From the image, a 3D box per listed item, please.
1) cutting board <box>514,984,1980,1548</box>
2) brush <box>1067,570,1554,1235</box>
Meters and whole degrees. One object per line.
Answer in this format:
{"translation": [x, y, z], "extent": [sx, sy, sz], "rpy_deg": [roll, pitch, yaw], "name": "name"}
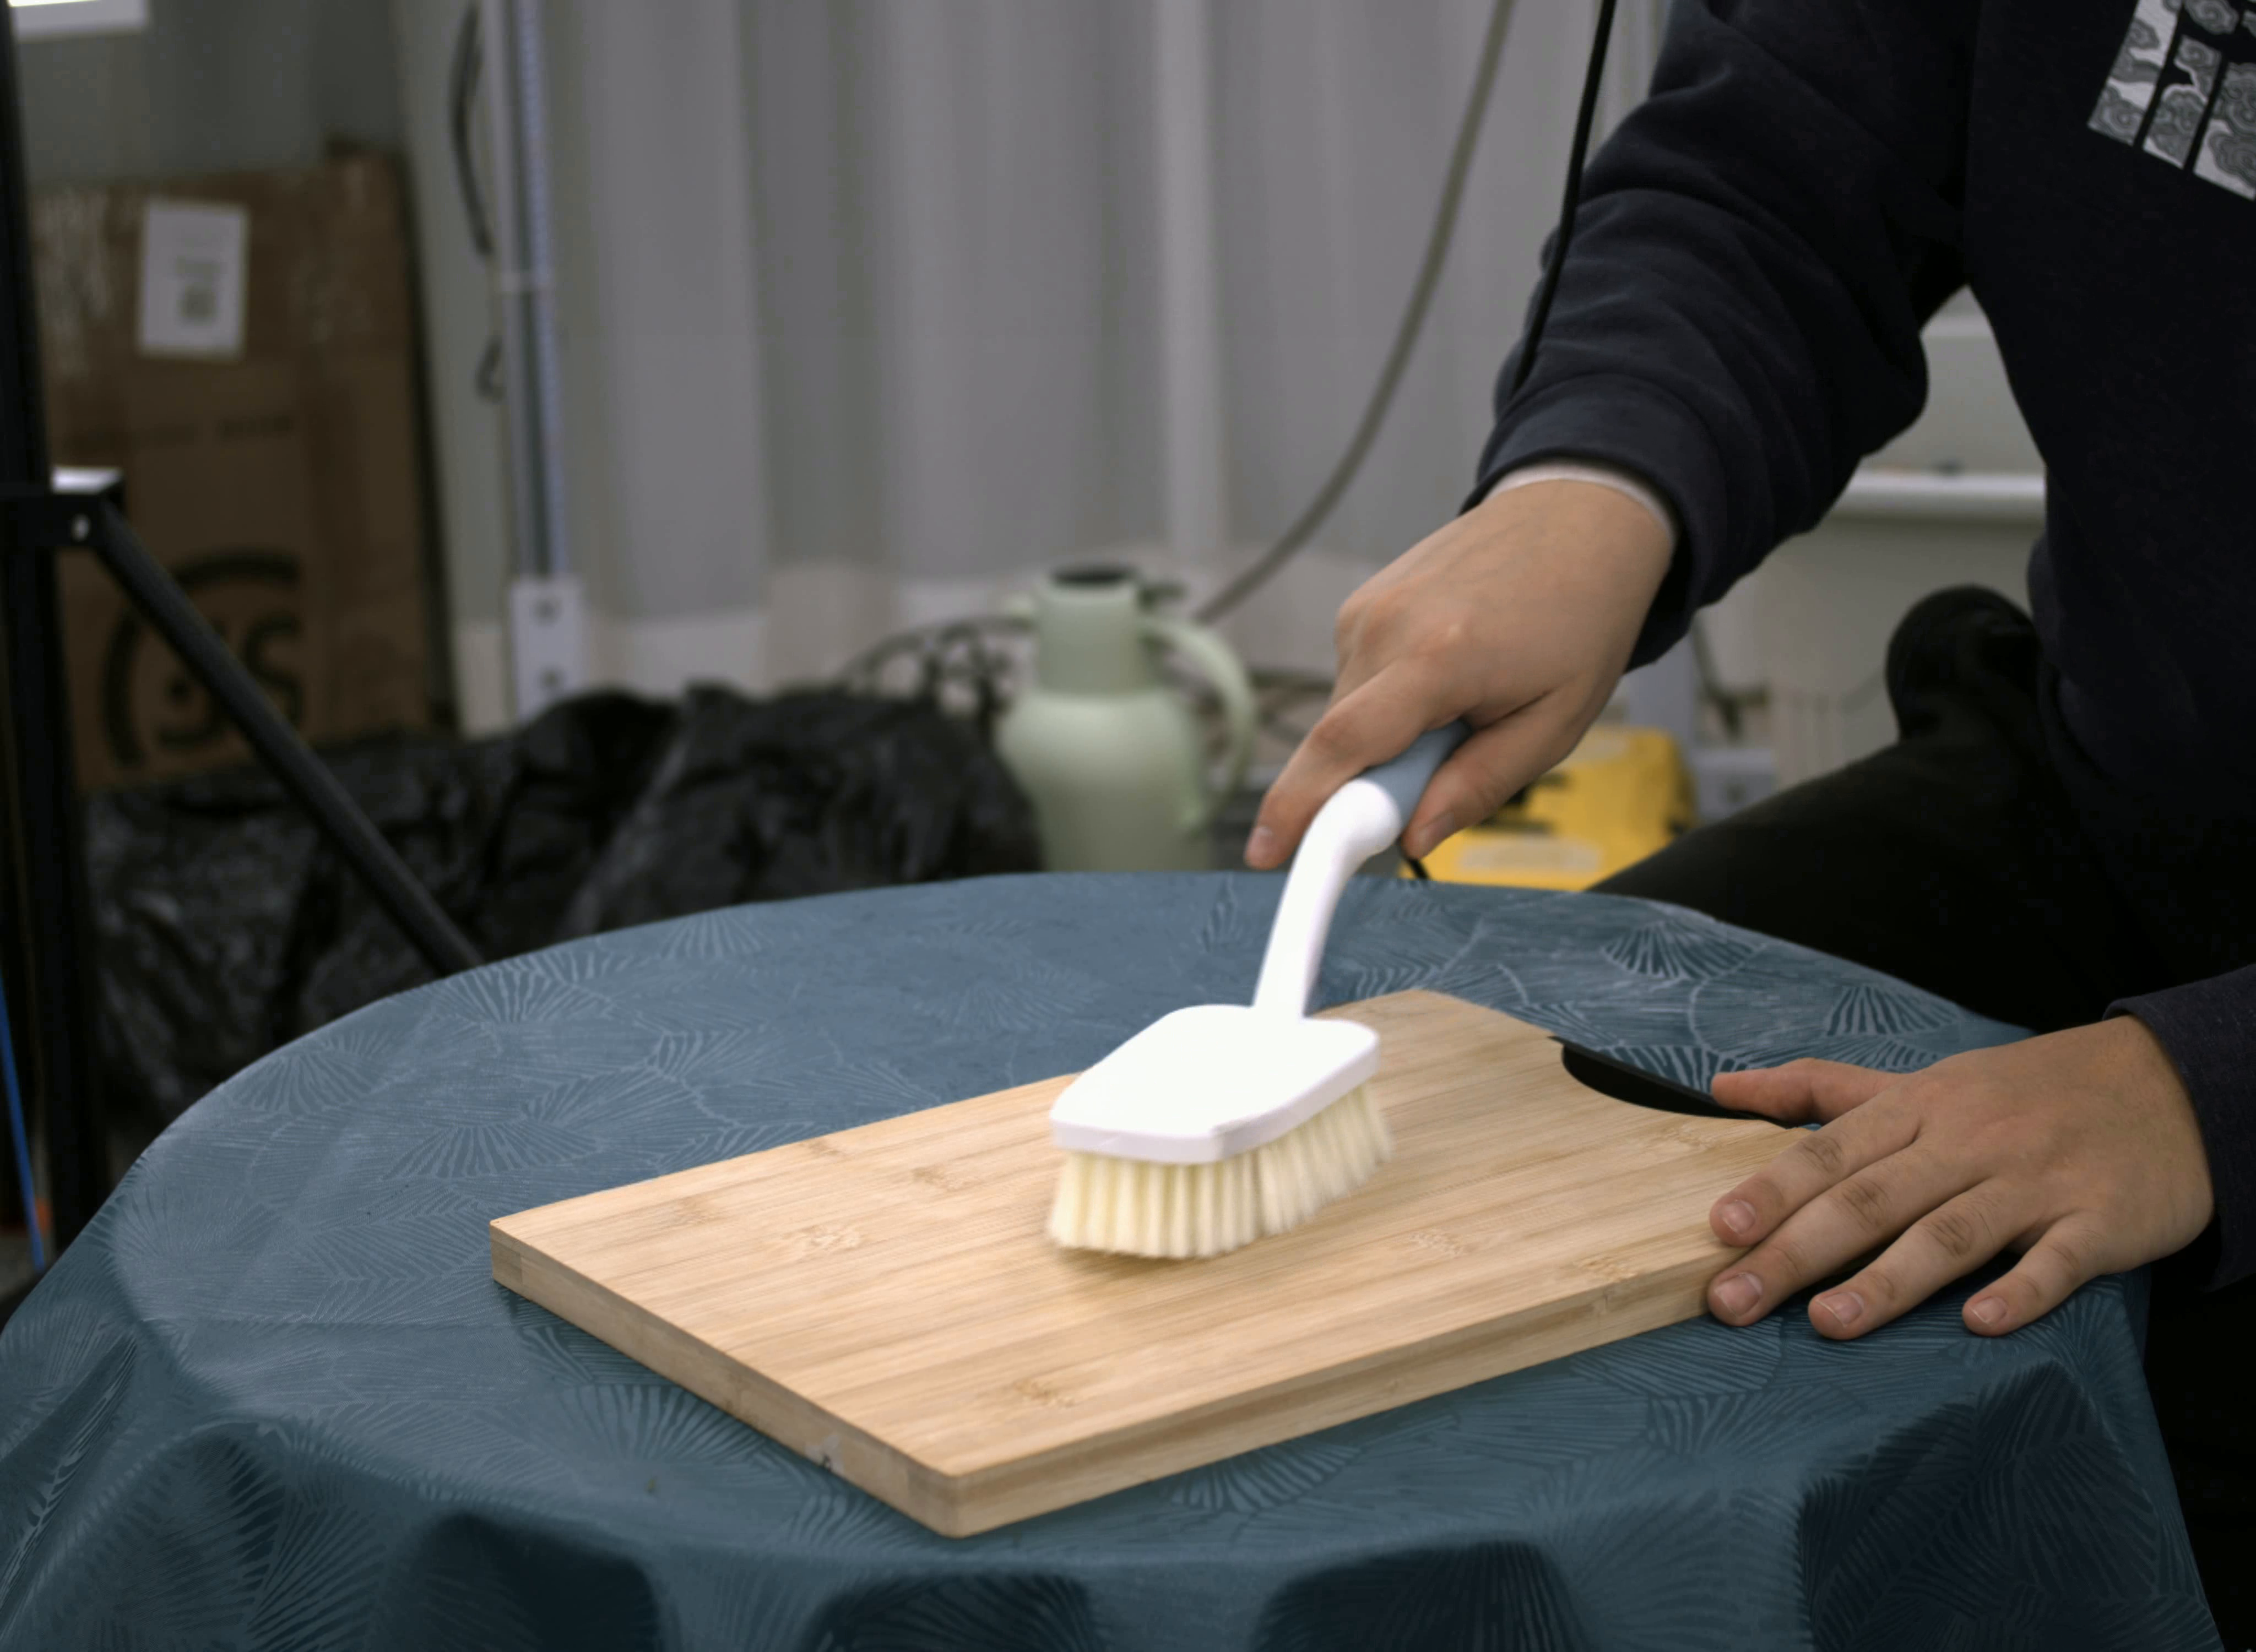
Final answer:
{"translation": [0.031, 0.114, 1.500], "extent": [0.341, 0.023, 0.256], "rpy_deg": [-13, 19, -33], "name": "cutting board"}
{"translation": [0.070, 0.036, 1.568], "extent": [0.083, 0.085, 0.322], "rpy_deg": [33, 40, 6], "name": "brush"}
